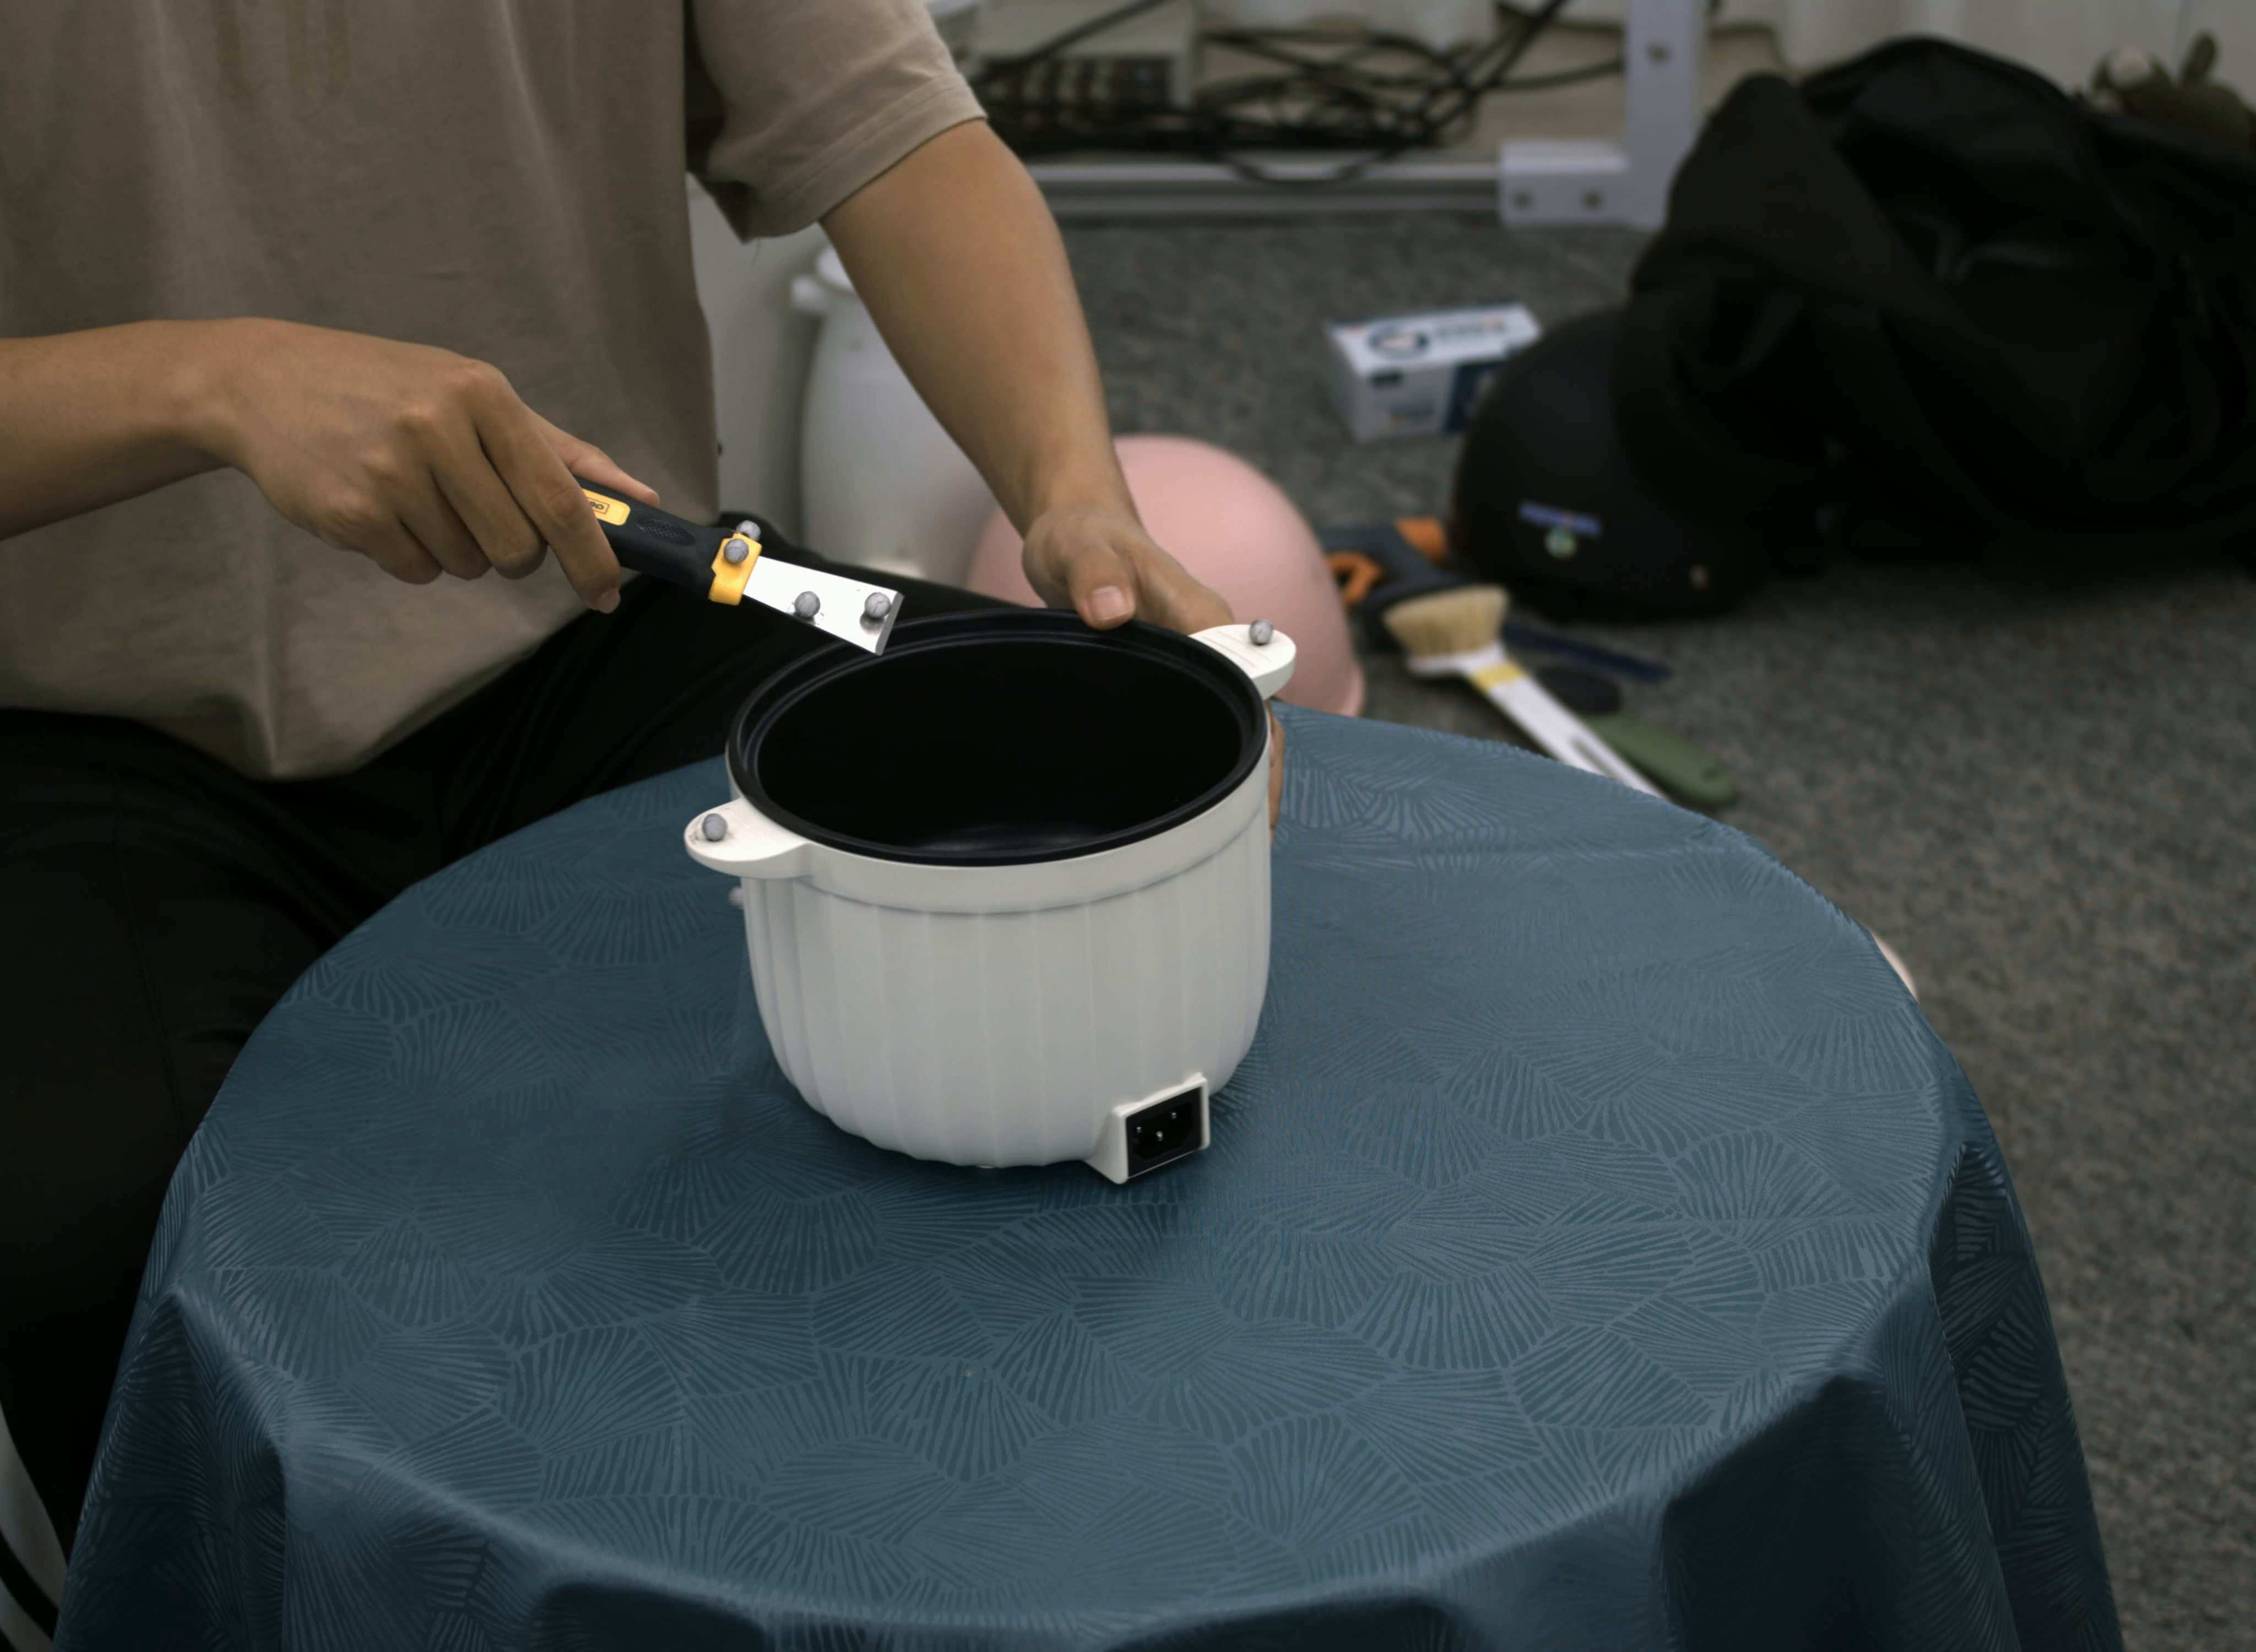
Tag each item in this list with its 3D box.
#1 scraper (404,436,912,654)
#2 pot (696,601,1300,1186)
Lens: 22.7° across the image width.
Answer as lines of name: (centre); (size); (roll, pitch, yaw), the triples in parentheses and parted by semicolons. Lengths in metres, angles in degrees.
scraper: (-0.156, -0.093, 1.854); (0.170, 0.014, 0.039); (17, 46, -3)
pot: (-0.043, 0.024, 1.905); (0.242, 0.141, 0.191); (-20, 36, -32)
